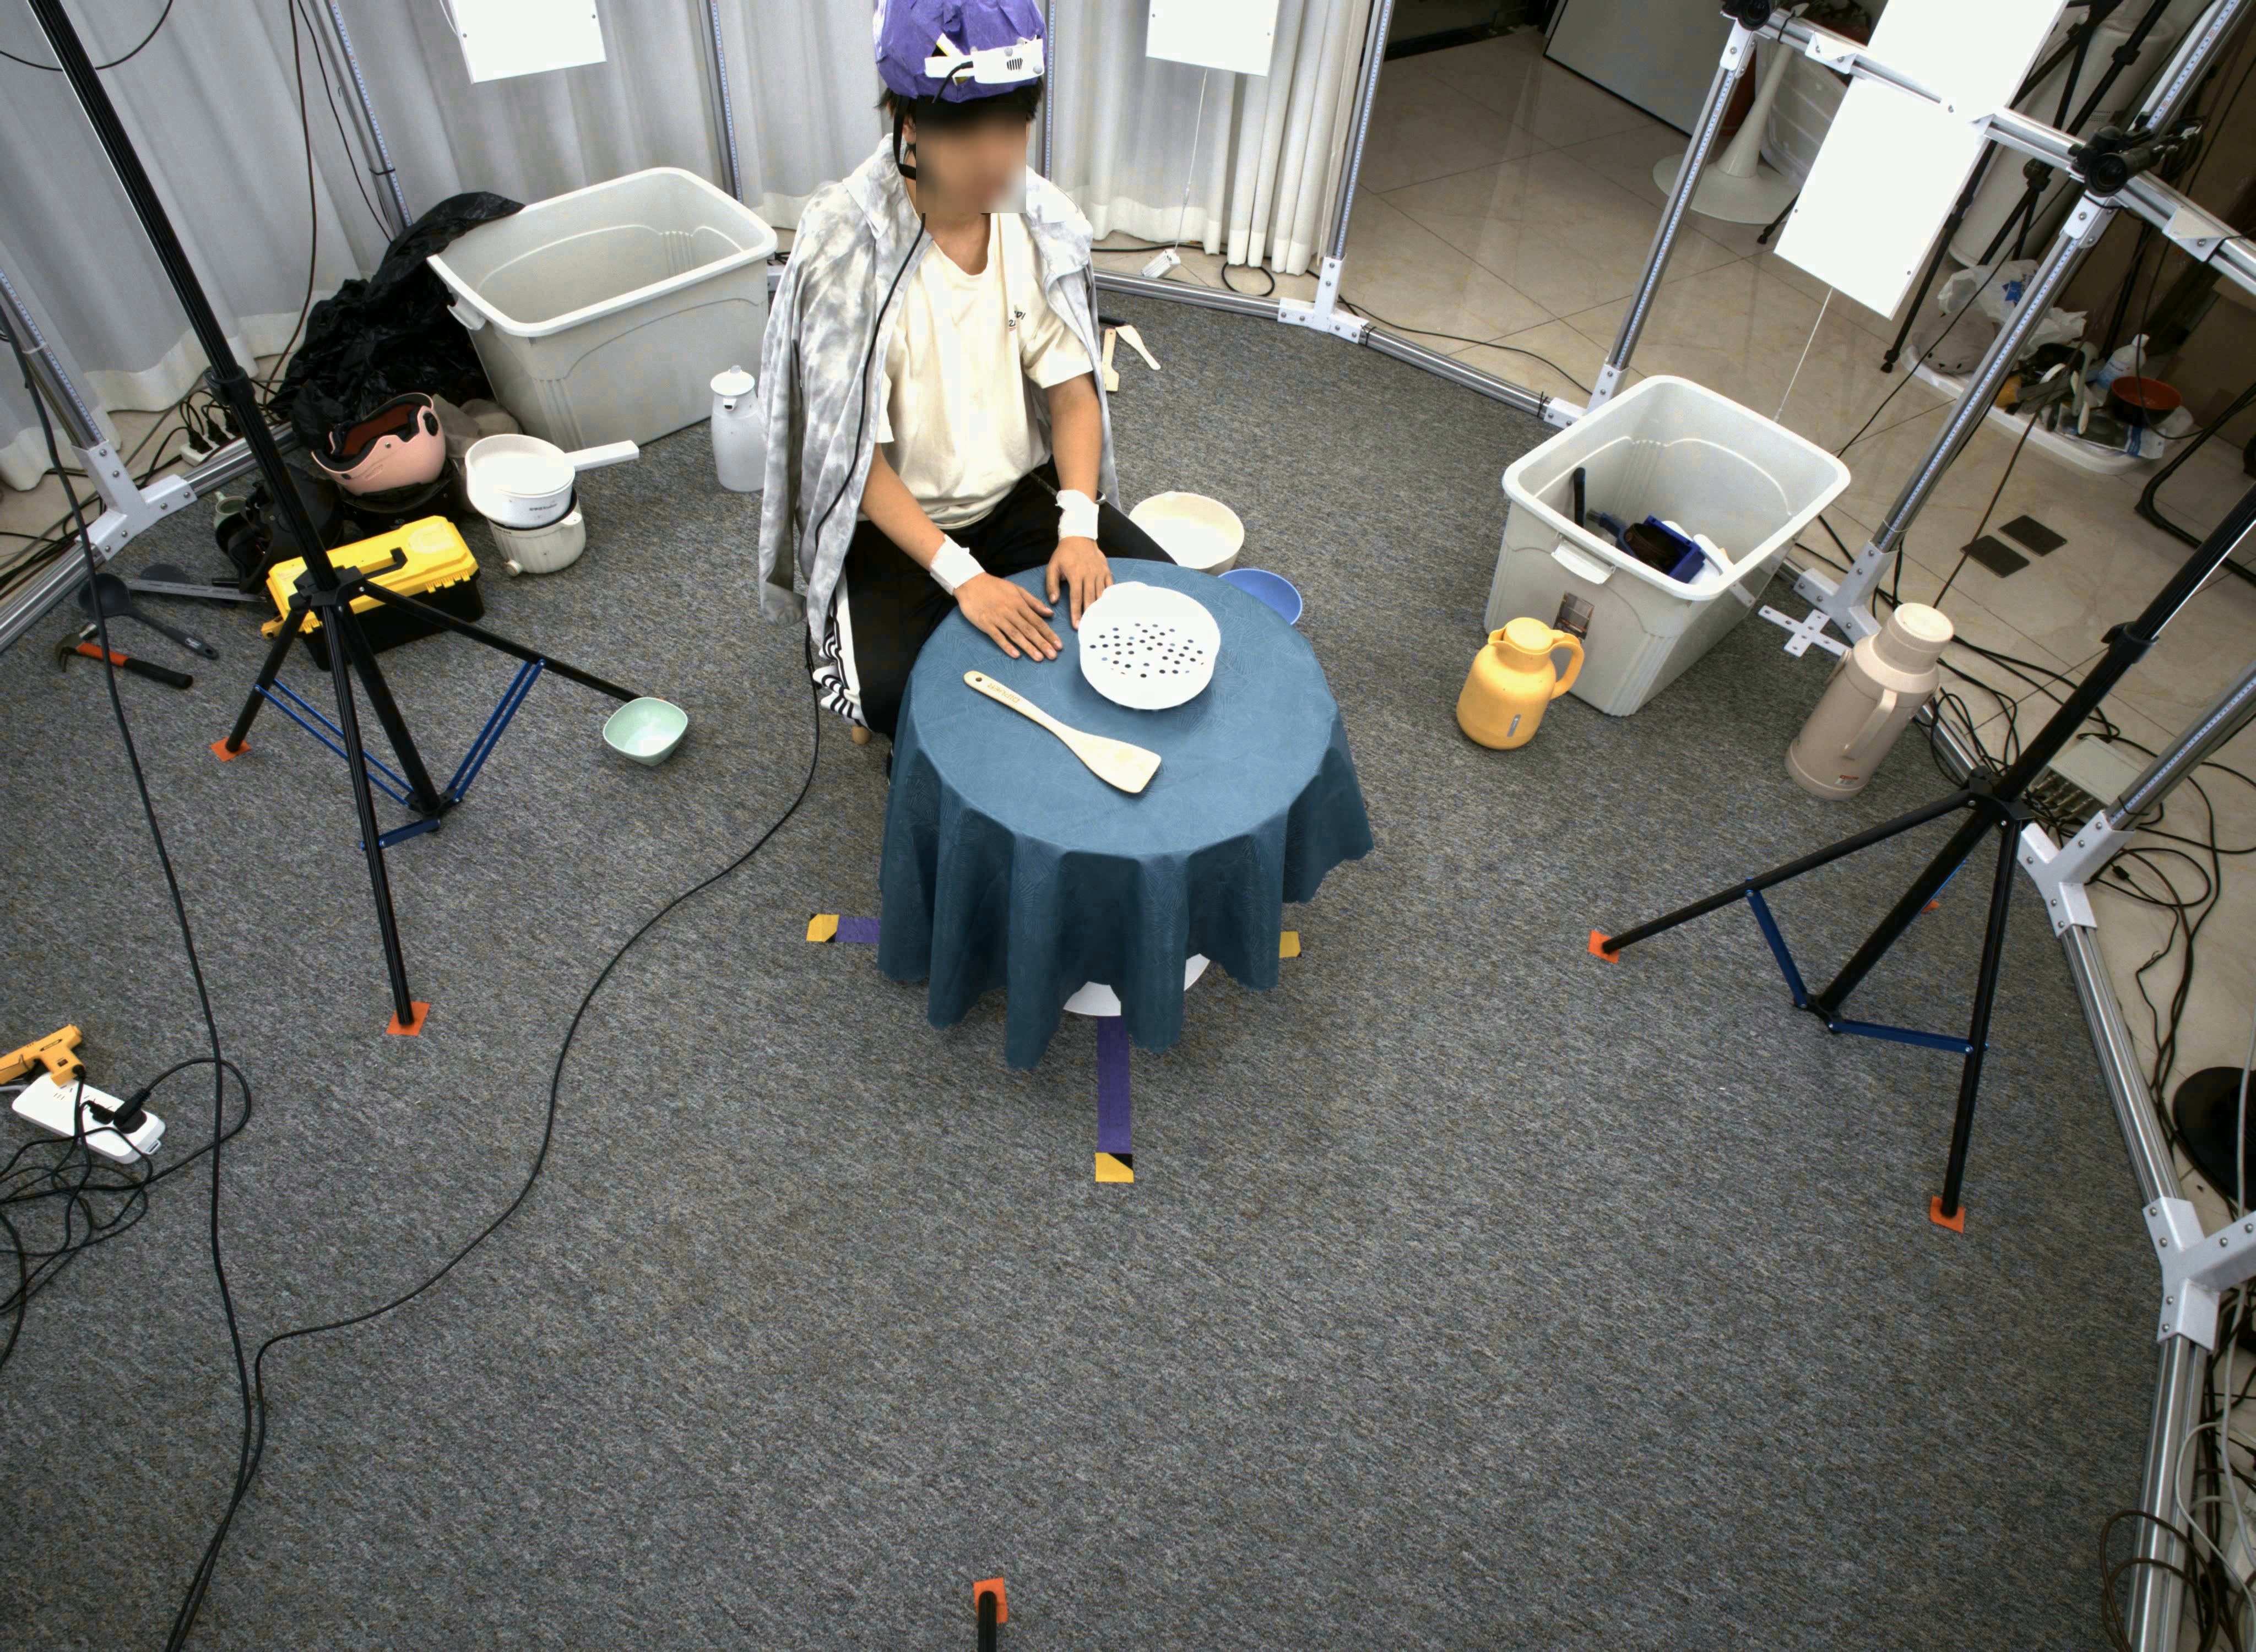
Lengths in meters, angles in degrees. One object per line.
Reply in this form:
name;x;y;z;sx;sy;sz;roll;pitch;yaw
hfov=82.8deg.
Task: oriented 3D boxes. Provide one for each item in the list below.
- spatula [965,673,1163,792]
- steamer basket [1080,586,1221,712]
spatula;-0.095;-0.139;1.763;0.331;0.016;0.081;30;53;22
steamer basket;0.030;-0.250;1.838;0.202;0.067;0.236;-12;50;-16
